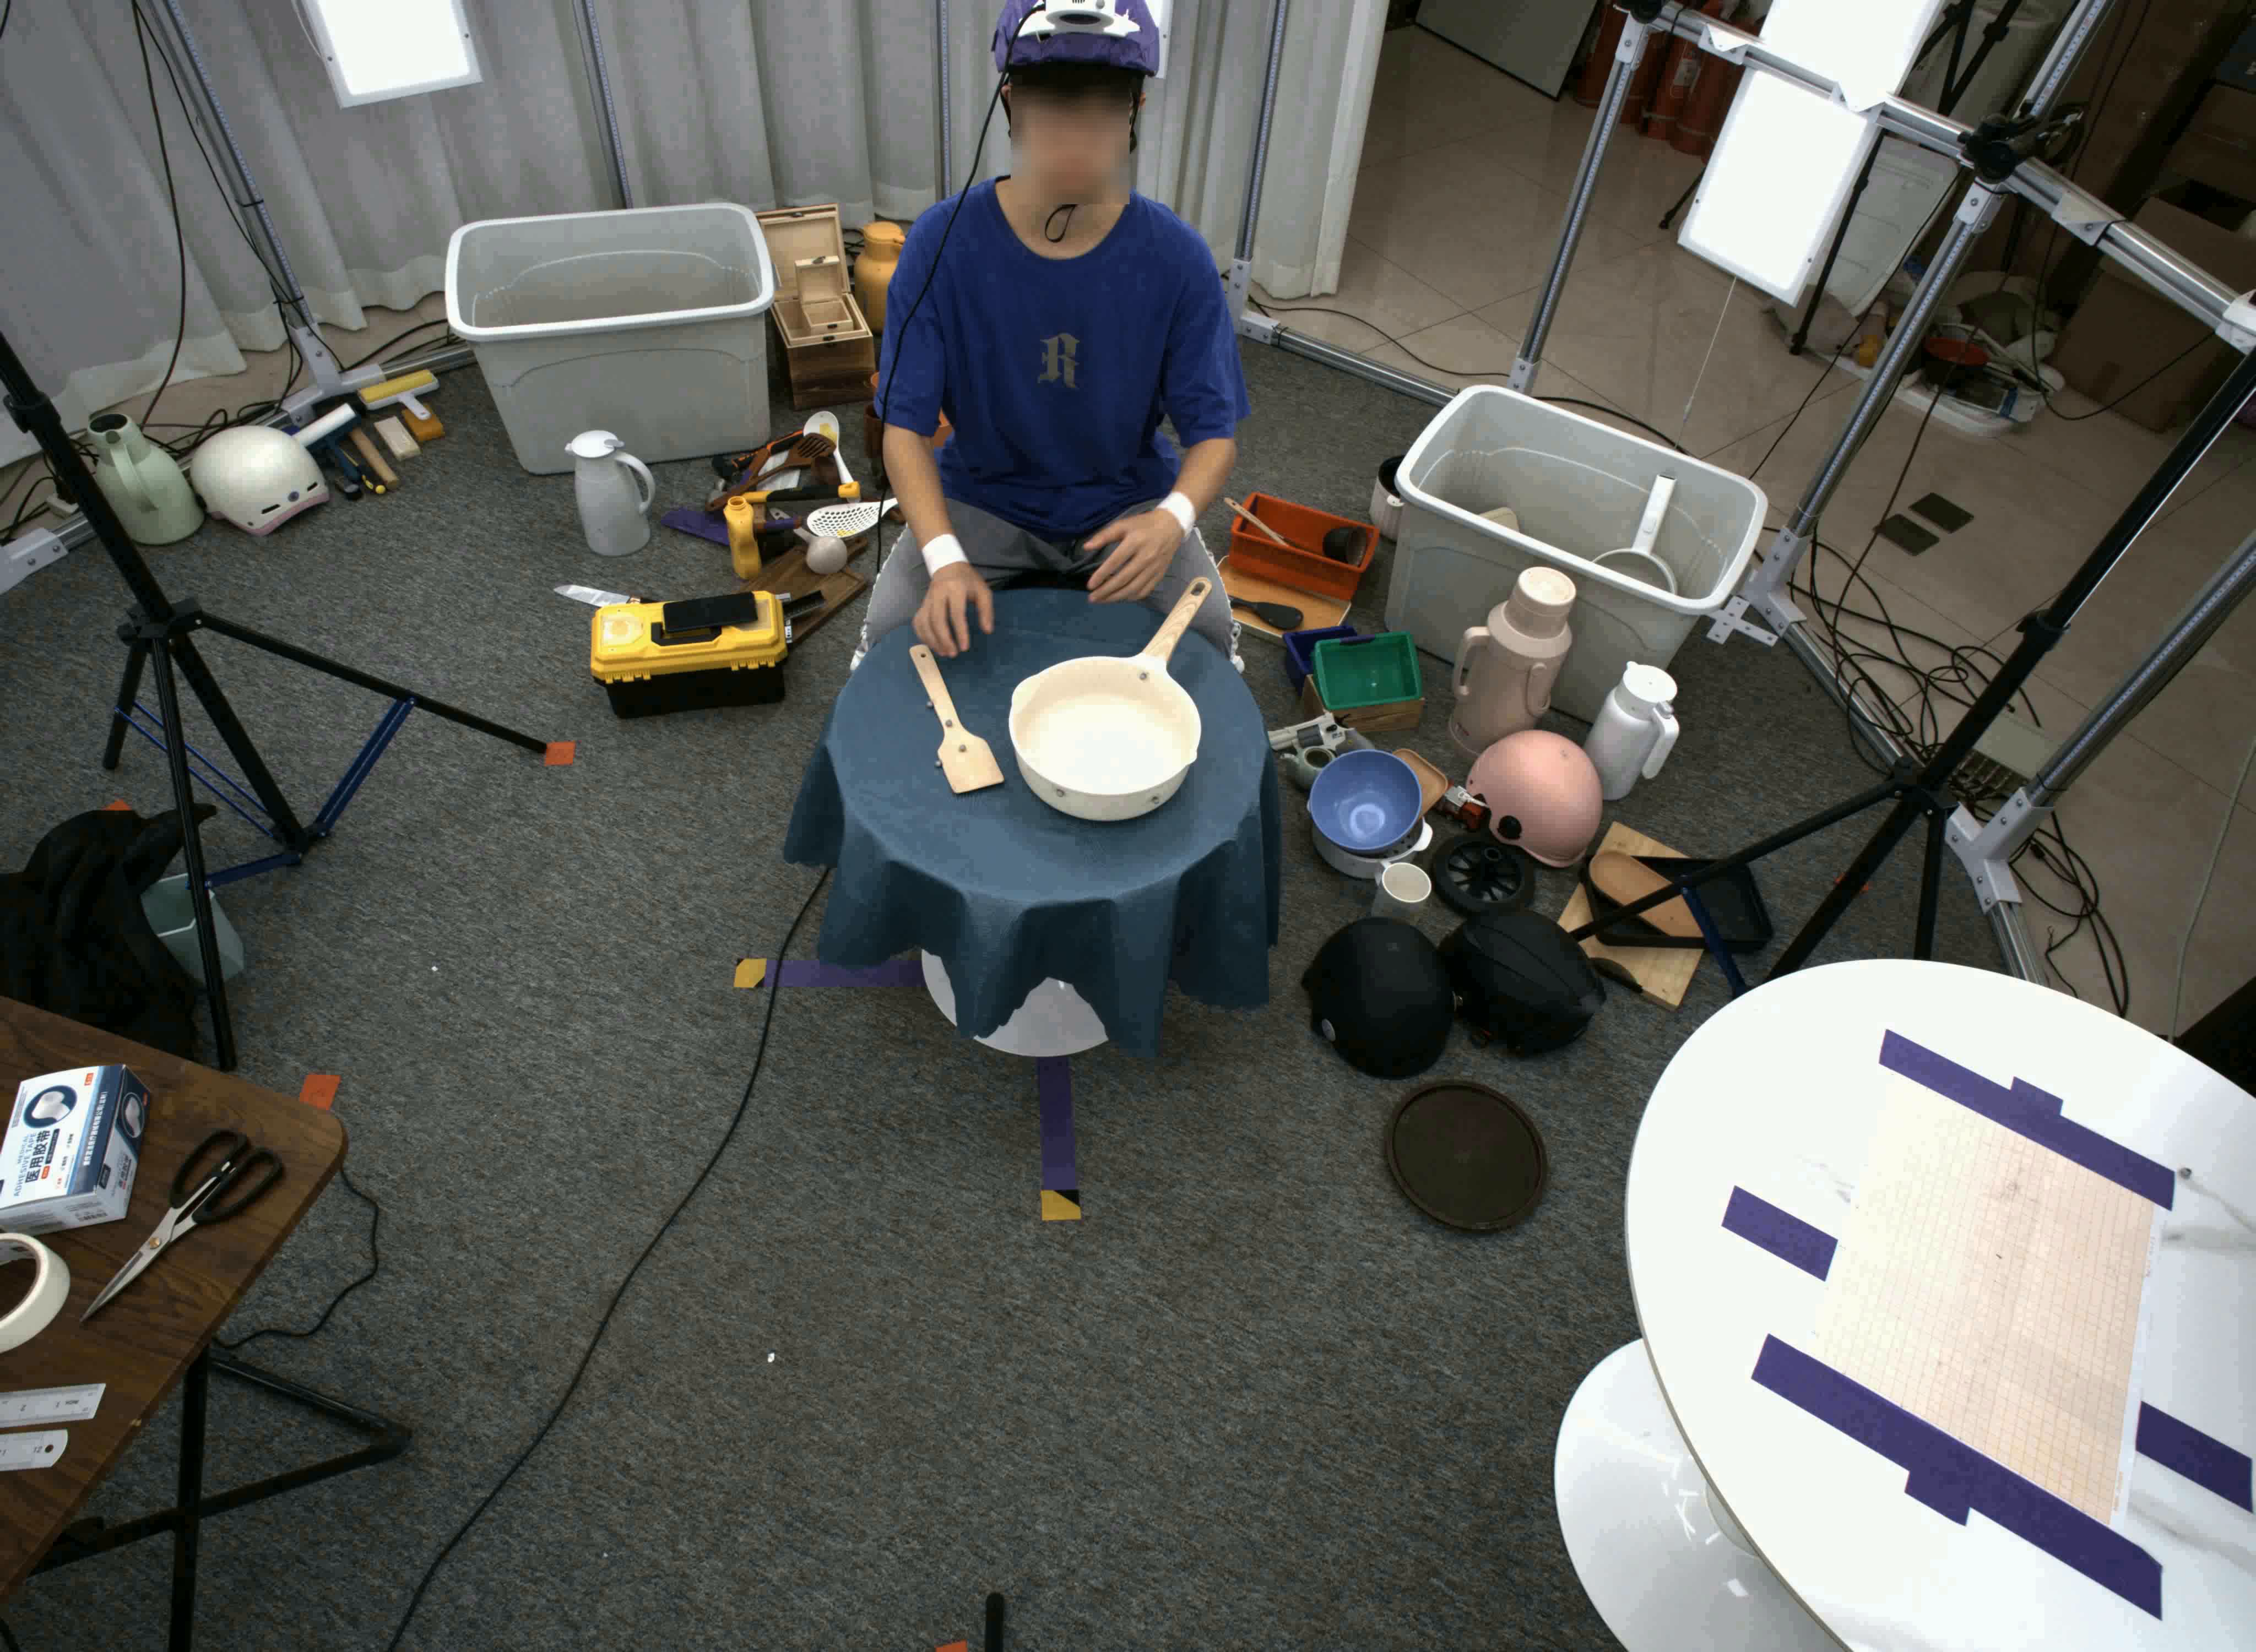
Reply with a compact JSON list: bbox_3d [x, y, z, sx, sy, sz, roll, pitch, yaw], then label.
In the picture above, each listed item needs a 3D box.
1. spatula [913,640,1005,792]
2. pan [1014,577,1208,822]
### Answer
[{"bbox_3d":[-0.249,-0.159,1.788,0.072,0.010,0.300,-16,53,-15],"label":"spatula"},{"bbox_3d":[0.014,-0.177,1.763,0.265,0.099,0.442,21,51,16],"label":"pan"}]
